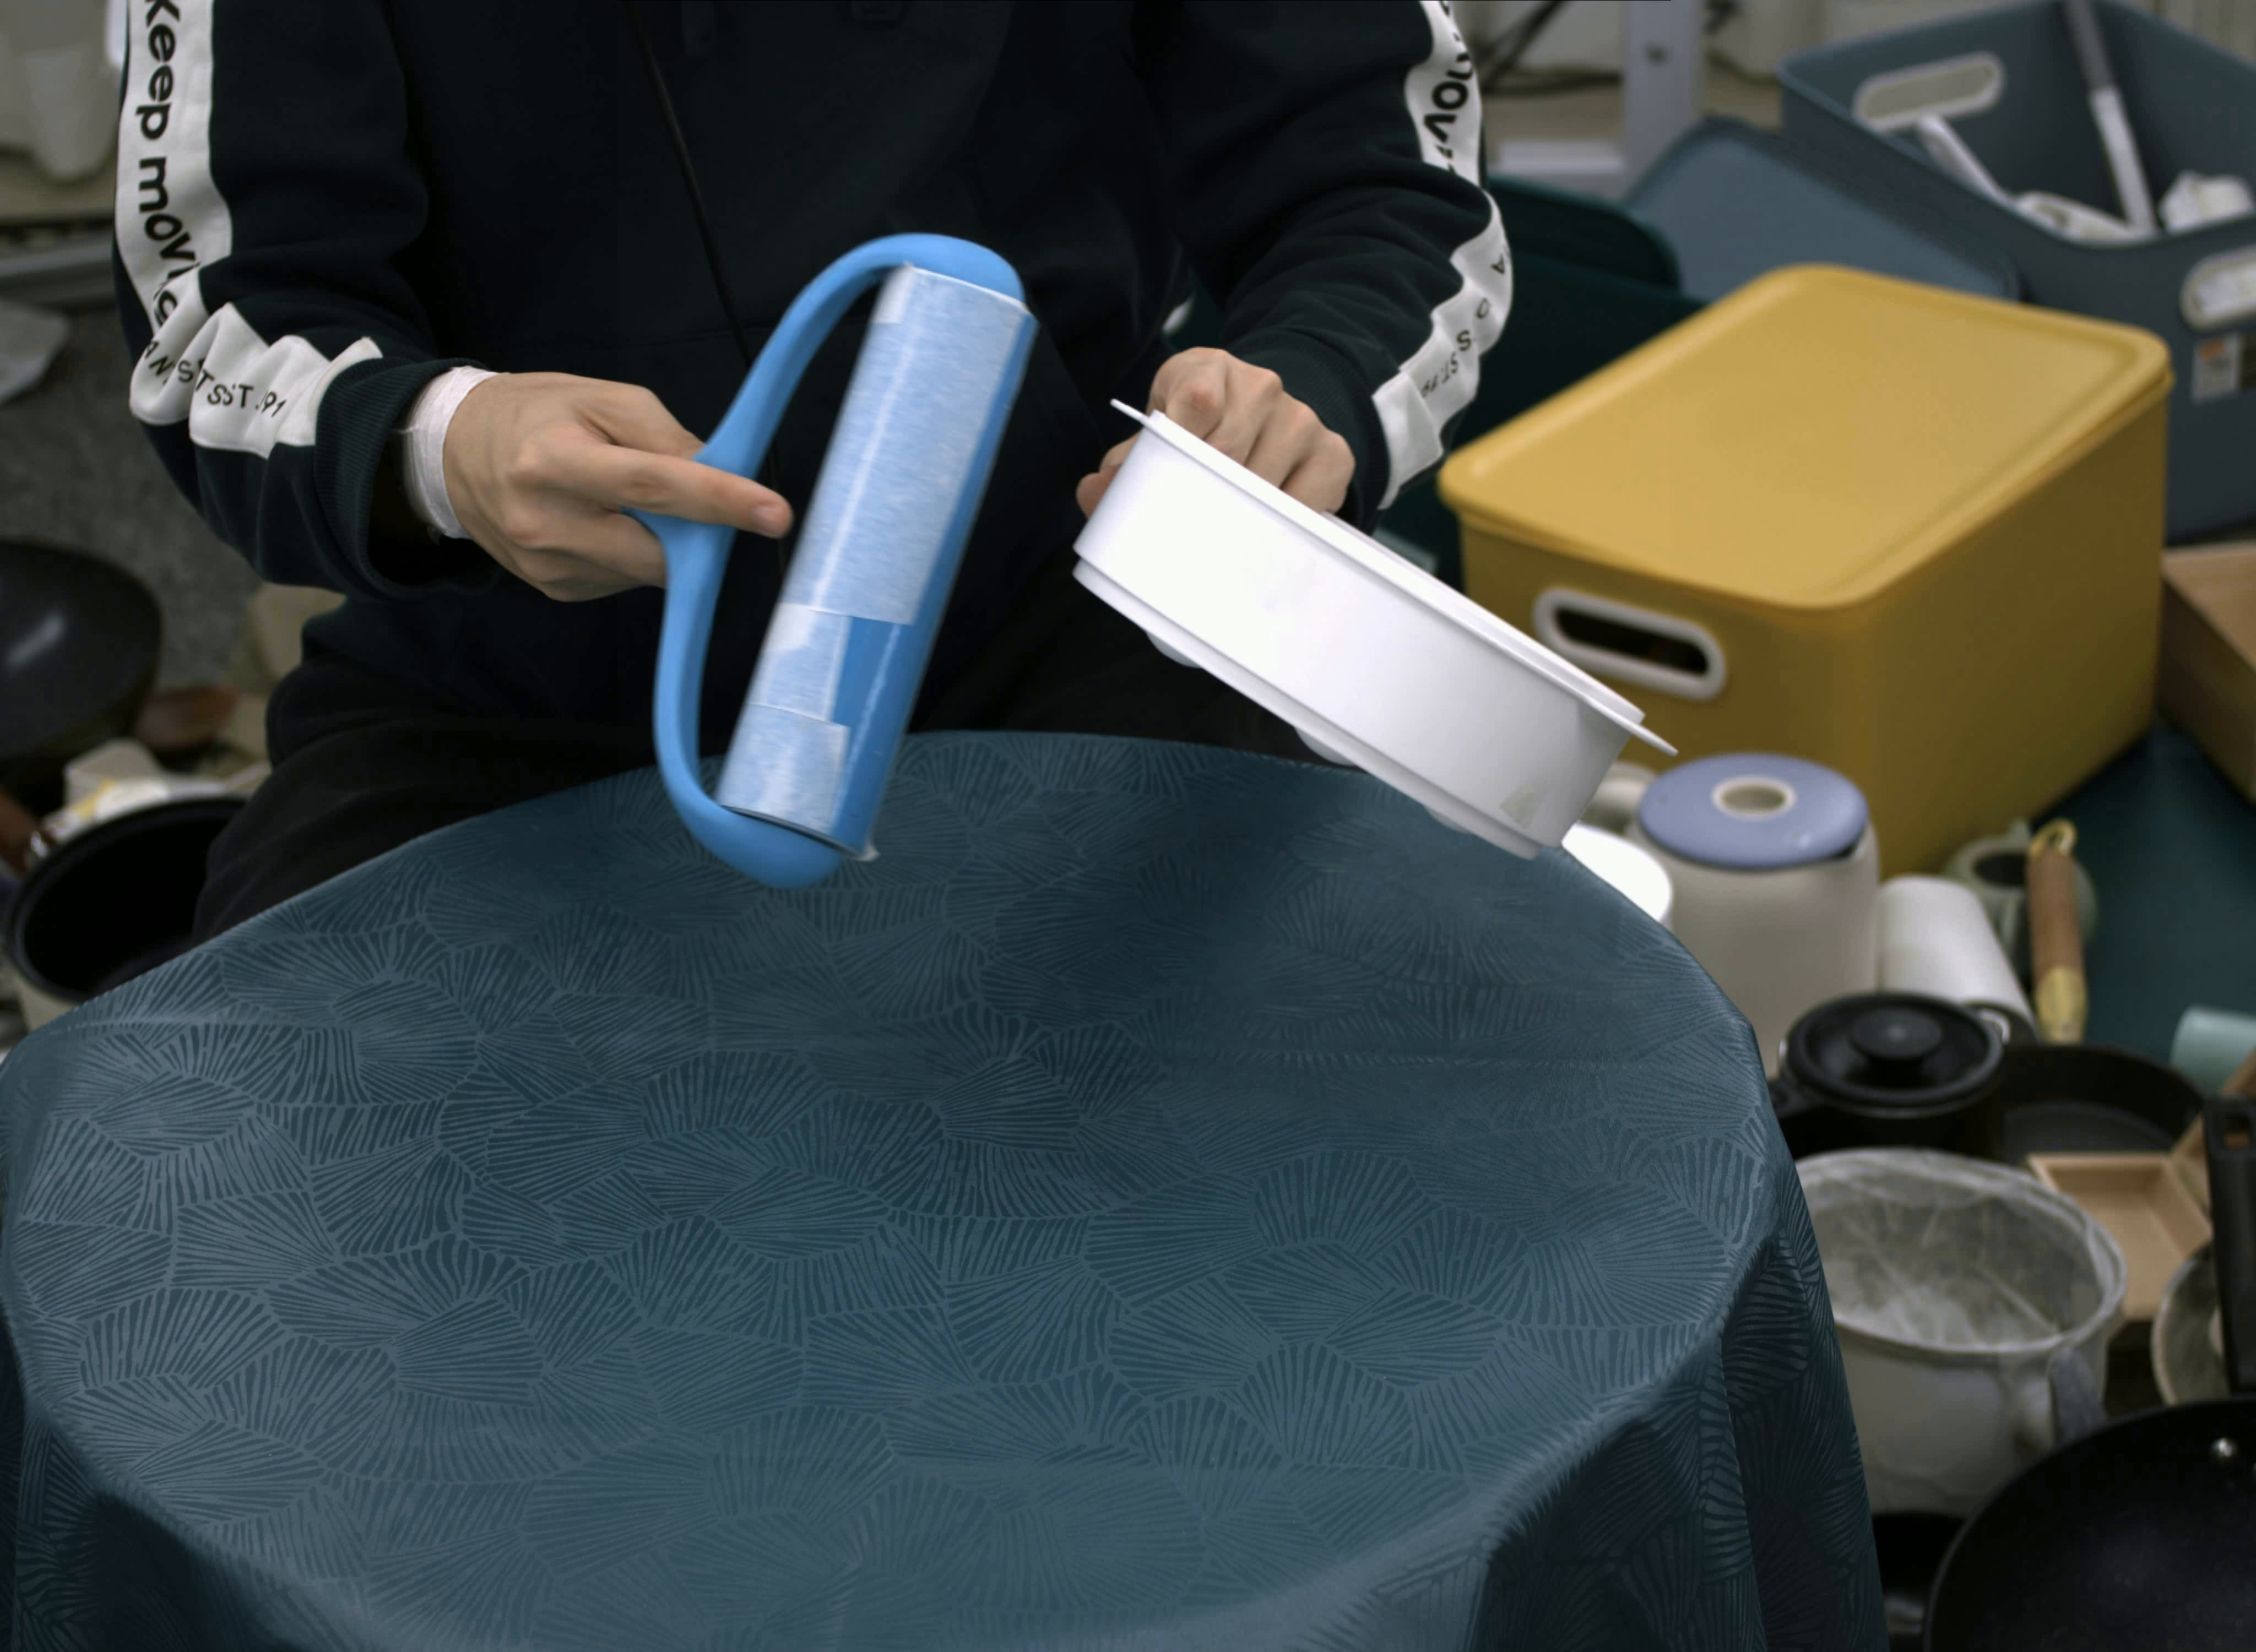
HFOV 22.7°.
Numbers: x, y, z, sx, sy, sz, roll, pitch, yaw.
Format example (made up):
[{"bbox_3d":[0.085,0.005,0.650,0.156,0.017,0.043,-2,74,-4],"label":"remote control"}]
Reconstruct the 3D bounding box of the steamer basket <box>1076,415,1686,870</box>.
[{"bbox_3d":[0.076,-0.058,1.902,0.230,0.069,0.201,32,2,21],"label":"steamer basket"}]

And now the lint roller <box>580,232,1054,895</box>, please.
[{"bbox_3d":[-0.127,-0.096,1.919,0.179,0.231,0.067,8,-11,29],"label":"lint roller"}]
